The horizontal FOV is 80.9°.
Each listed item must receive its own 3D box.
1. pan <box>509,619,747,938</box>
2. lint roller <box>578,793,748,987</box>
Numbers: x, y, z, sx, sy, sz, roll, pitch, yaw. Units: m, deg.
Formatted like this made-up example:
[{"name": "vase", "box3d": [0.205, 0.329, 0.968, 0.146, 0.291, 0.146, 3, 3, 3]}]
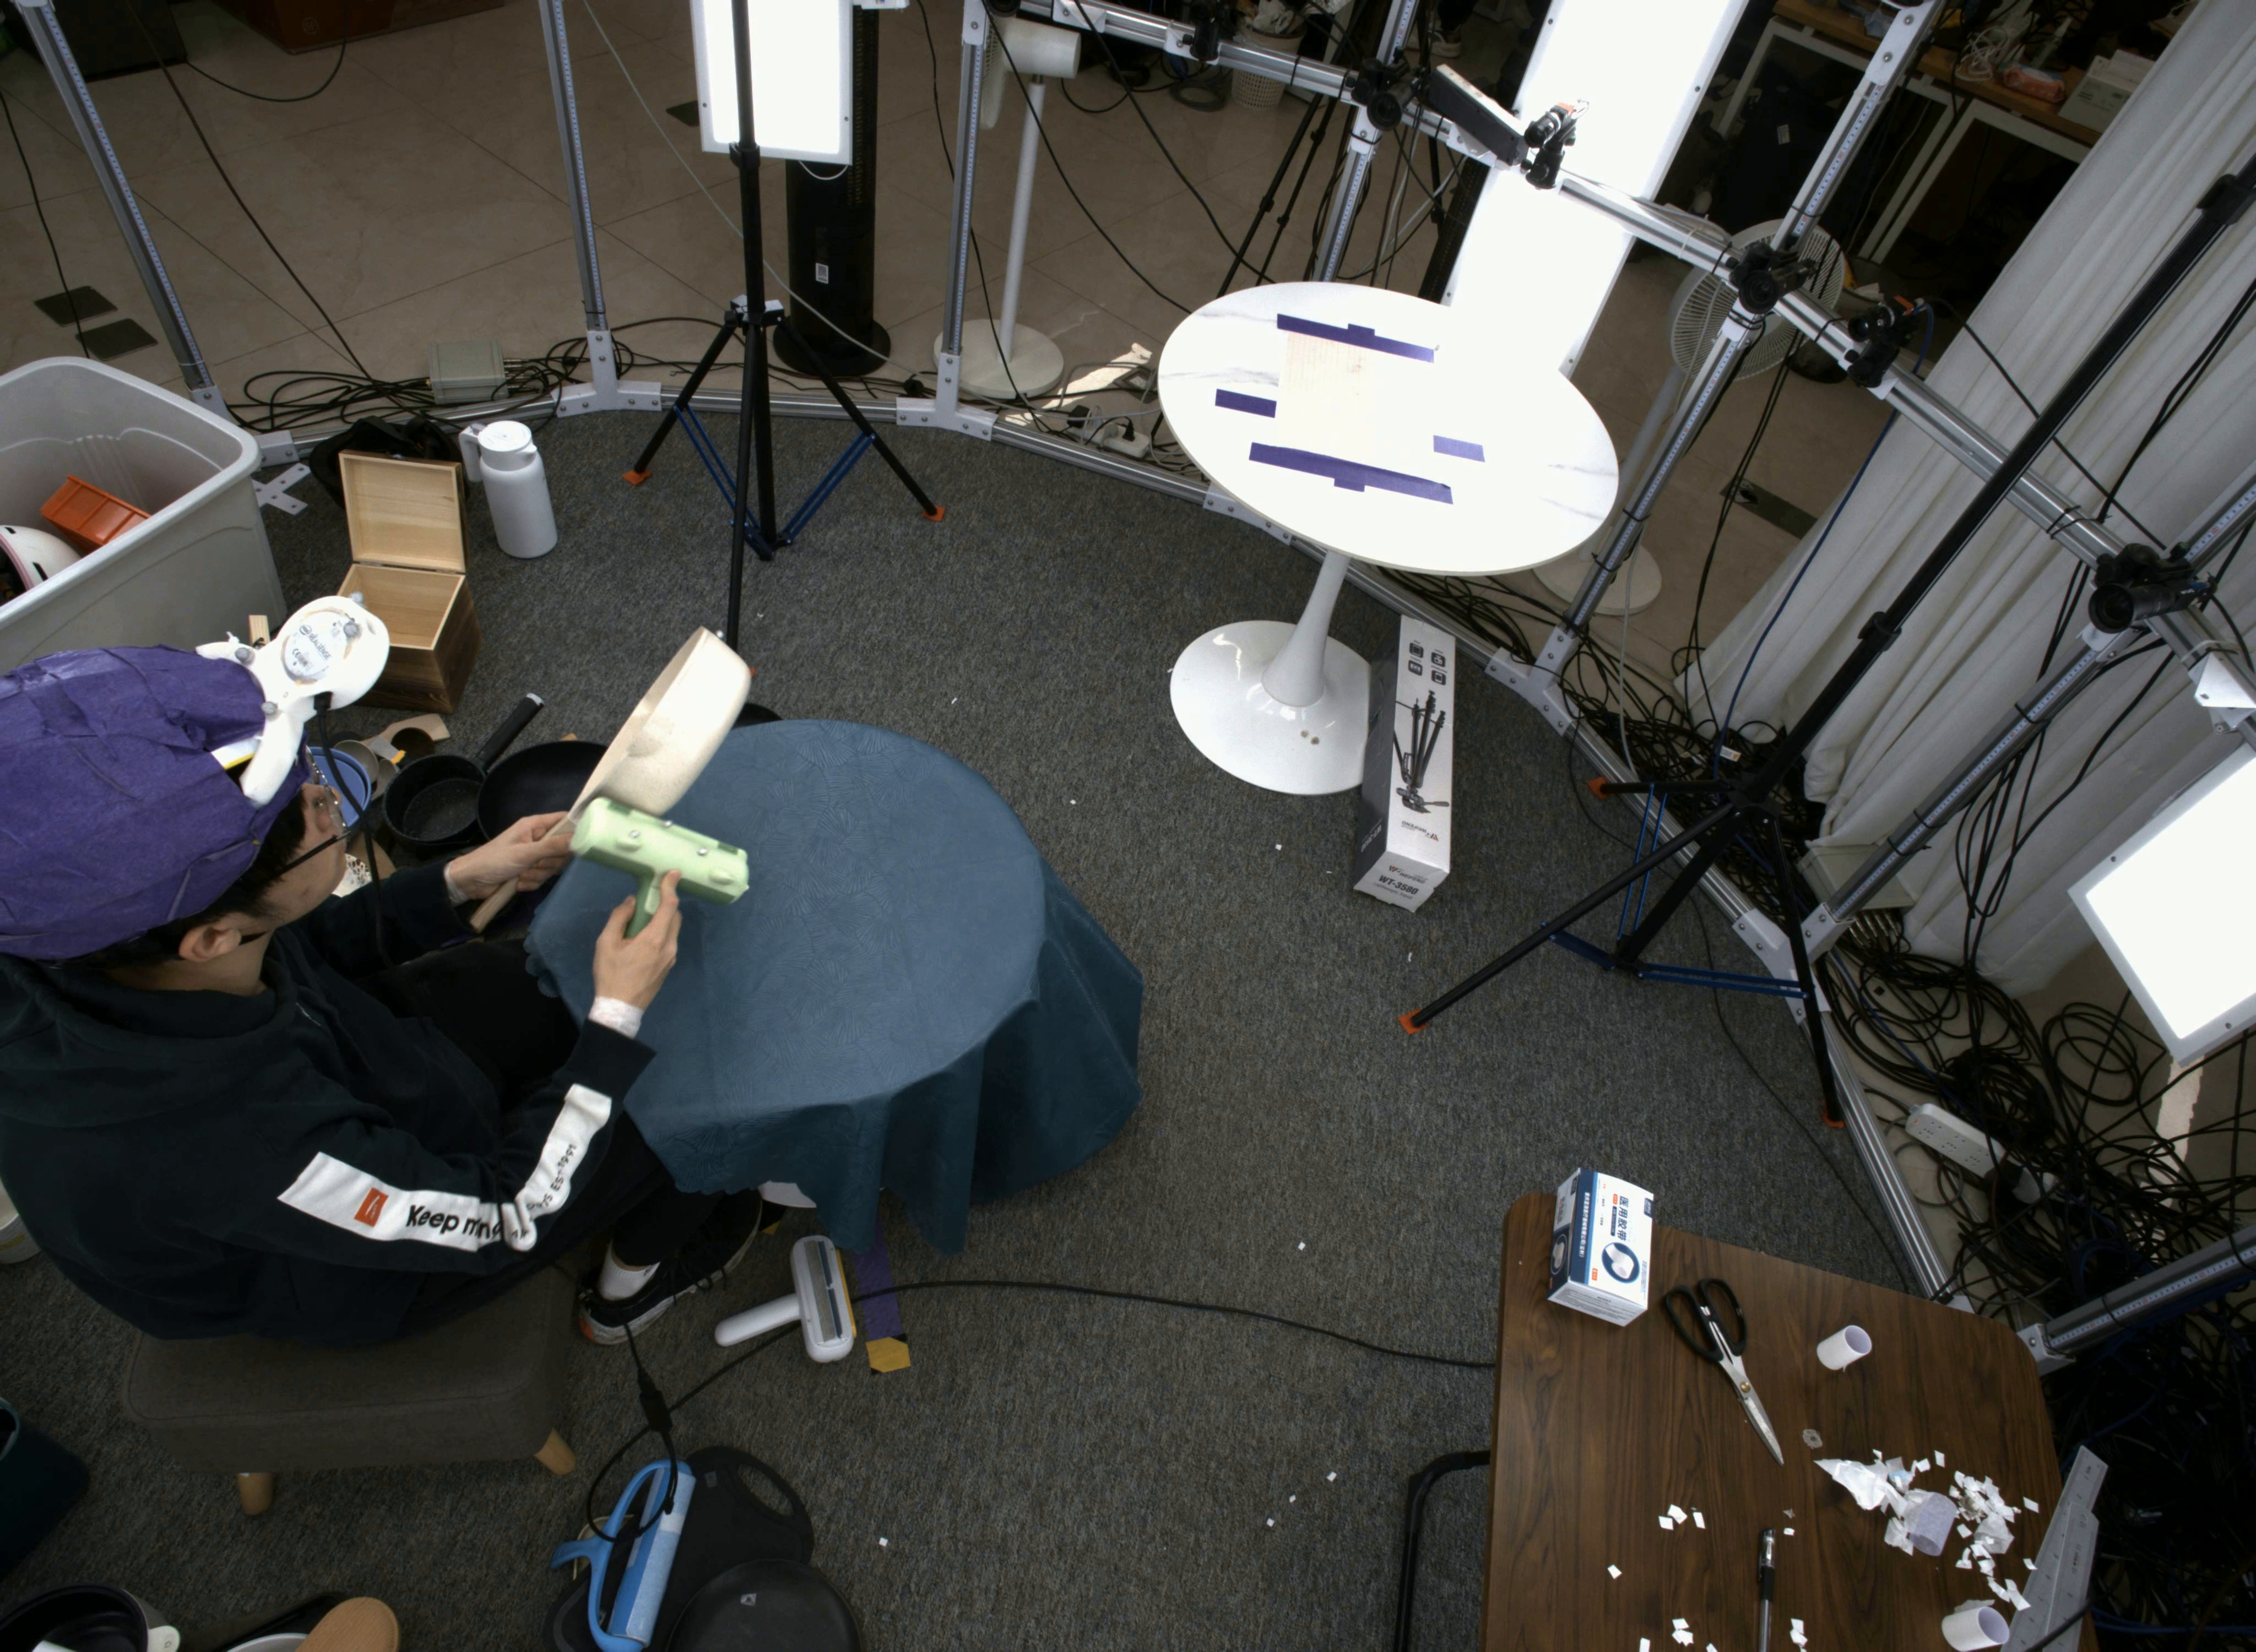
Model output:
[{"name": "pan", "box3d": [-0.586, -0.038, 1.466, 0.105, 0.255, 0.436, 36, 86, -26]}, {"name": "lint roller", "box3d": [-0.512, 0.080, 1.394, 0.205, 0.080, 0.182, 28, 61, -46]}]
